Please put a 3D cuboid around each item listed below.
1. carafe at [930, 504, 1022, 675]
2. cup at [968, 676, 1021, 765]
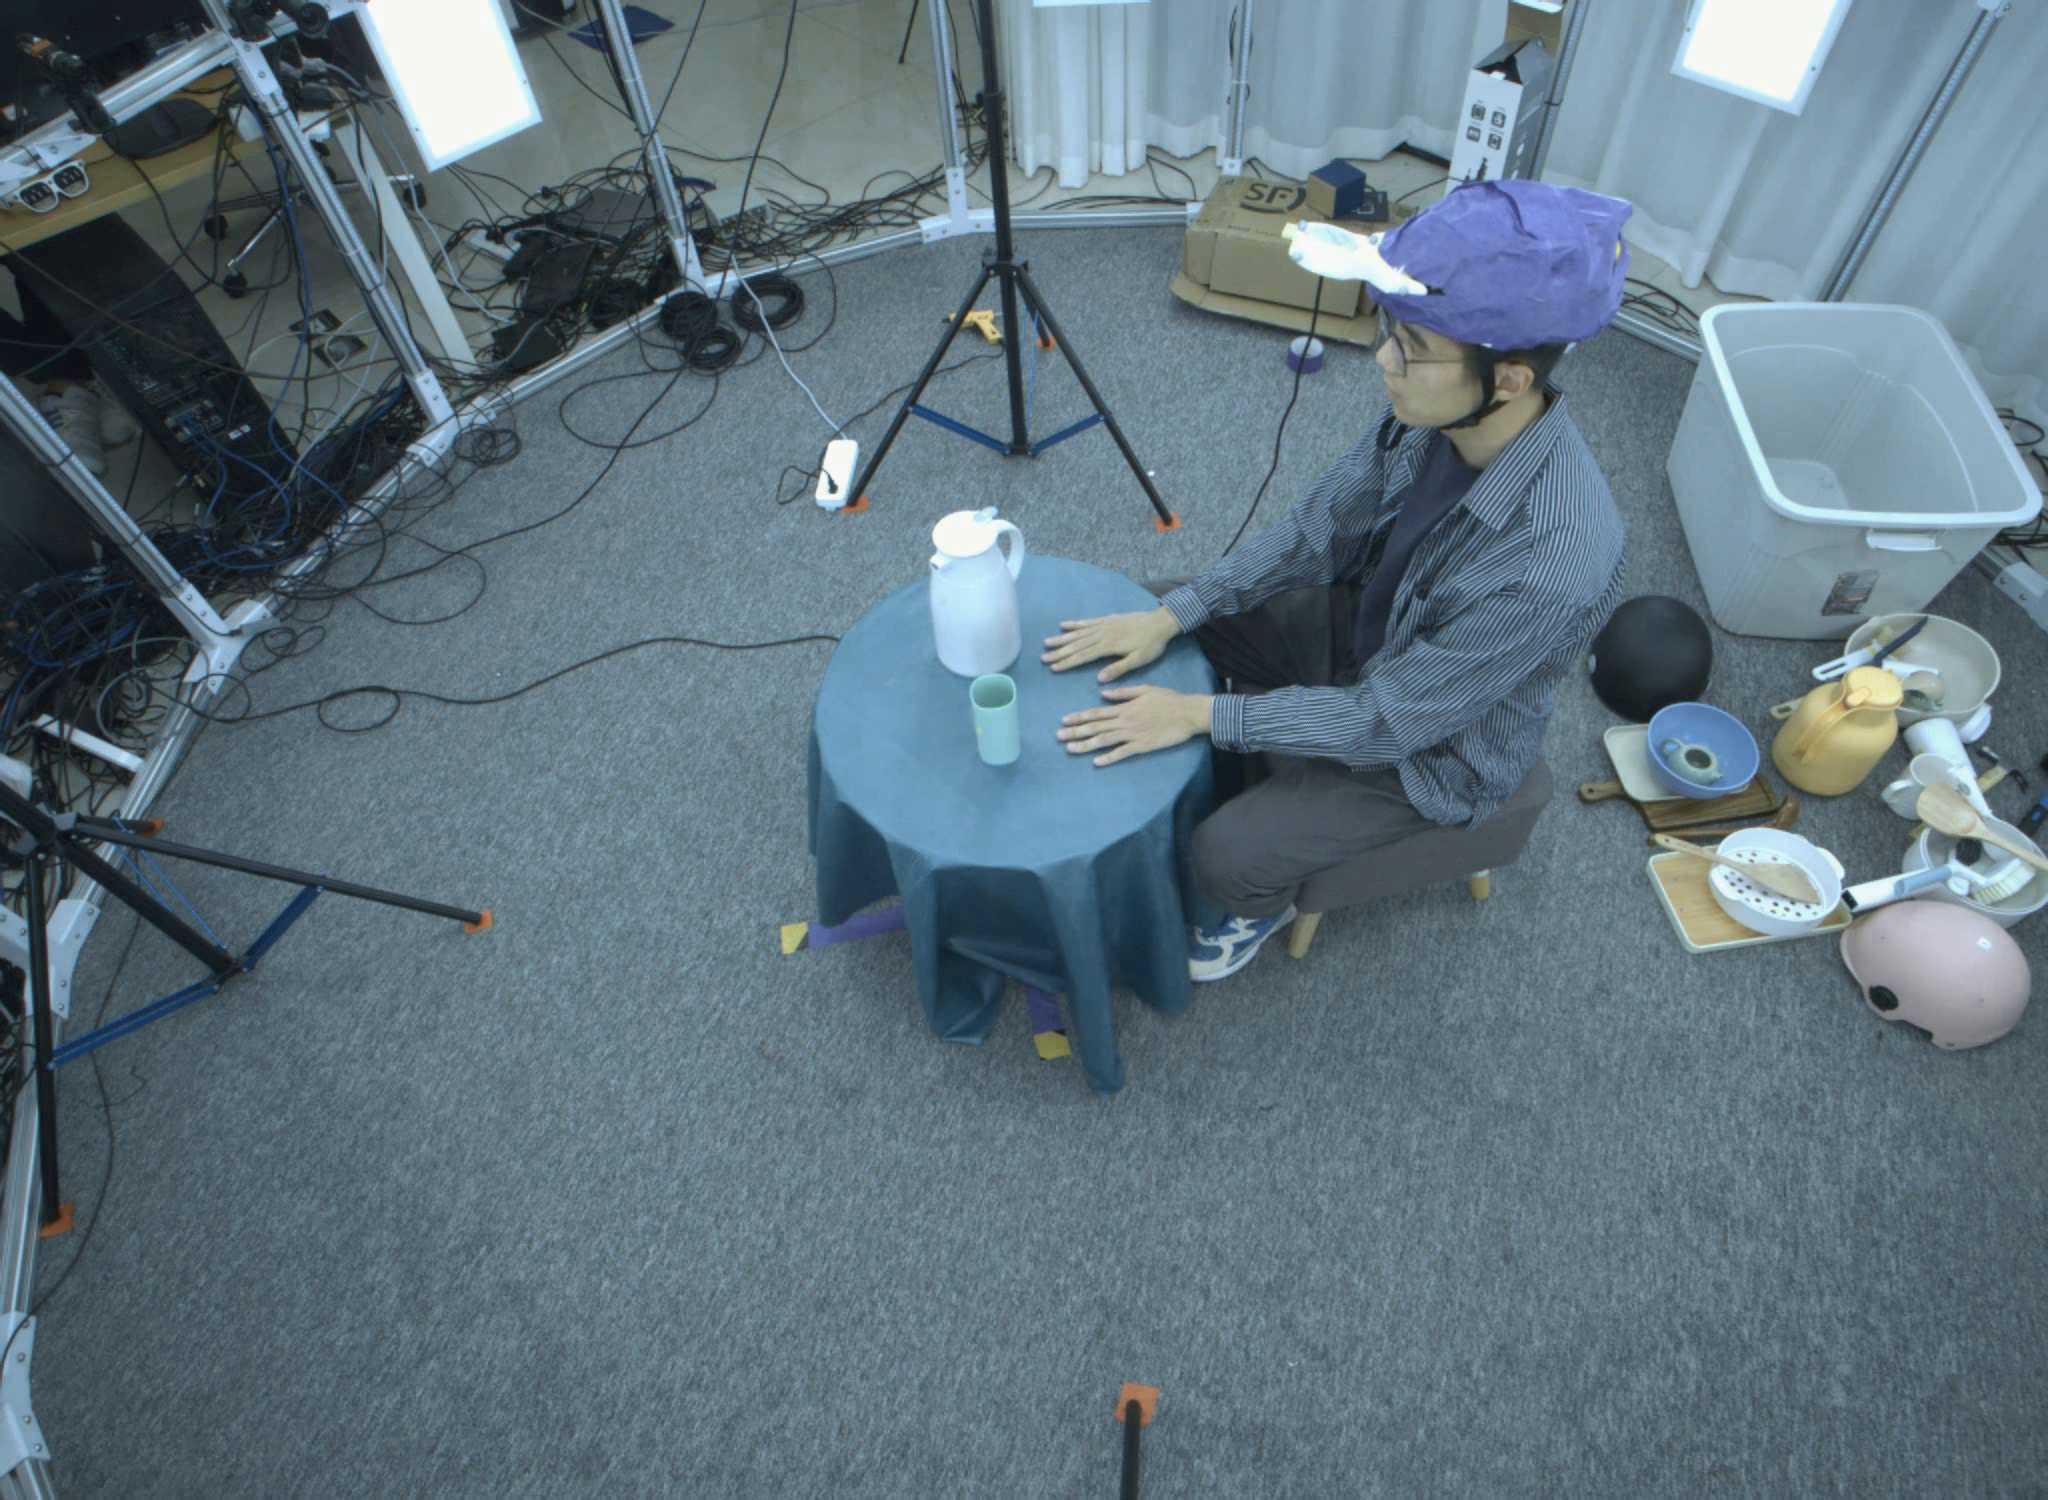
[{"bbox_3d":[-0.065,-0.251,1.814,0.130,0.251,0.169,33,61,24],"label":"carafe"},{"bbox_3d":[-0.040,-0.041,1.744,0.066,0.134,0.066,-2,55,4],"label":"cup"}]
